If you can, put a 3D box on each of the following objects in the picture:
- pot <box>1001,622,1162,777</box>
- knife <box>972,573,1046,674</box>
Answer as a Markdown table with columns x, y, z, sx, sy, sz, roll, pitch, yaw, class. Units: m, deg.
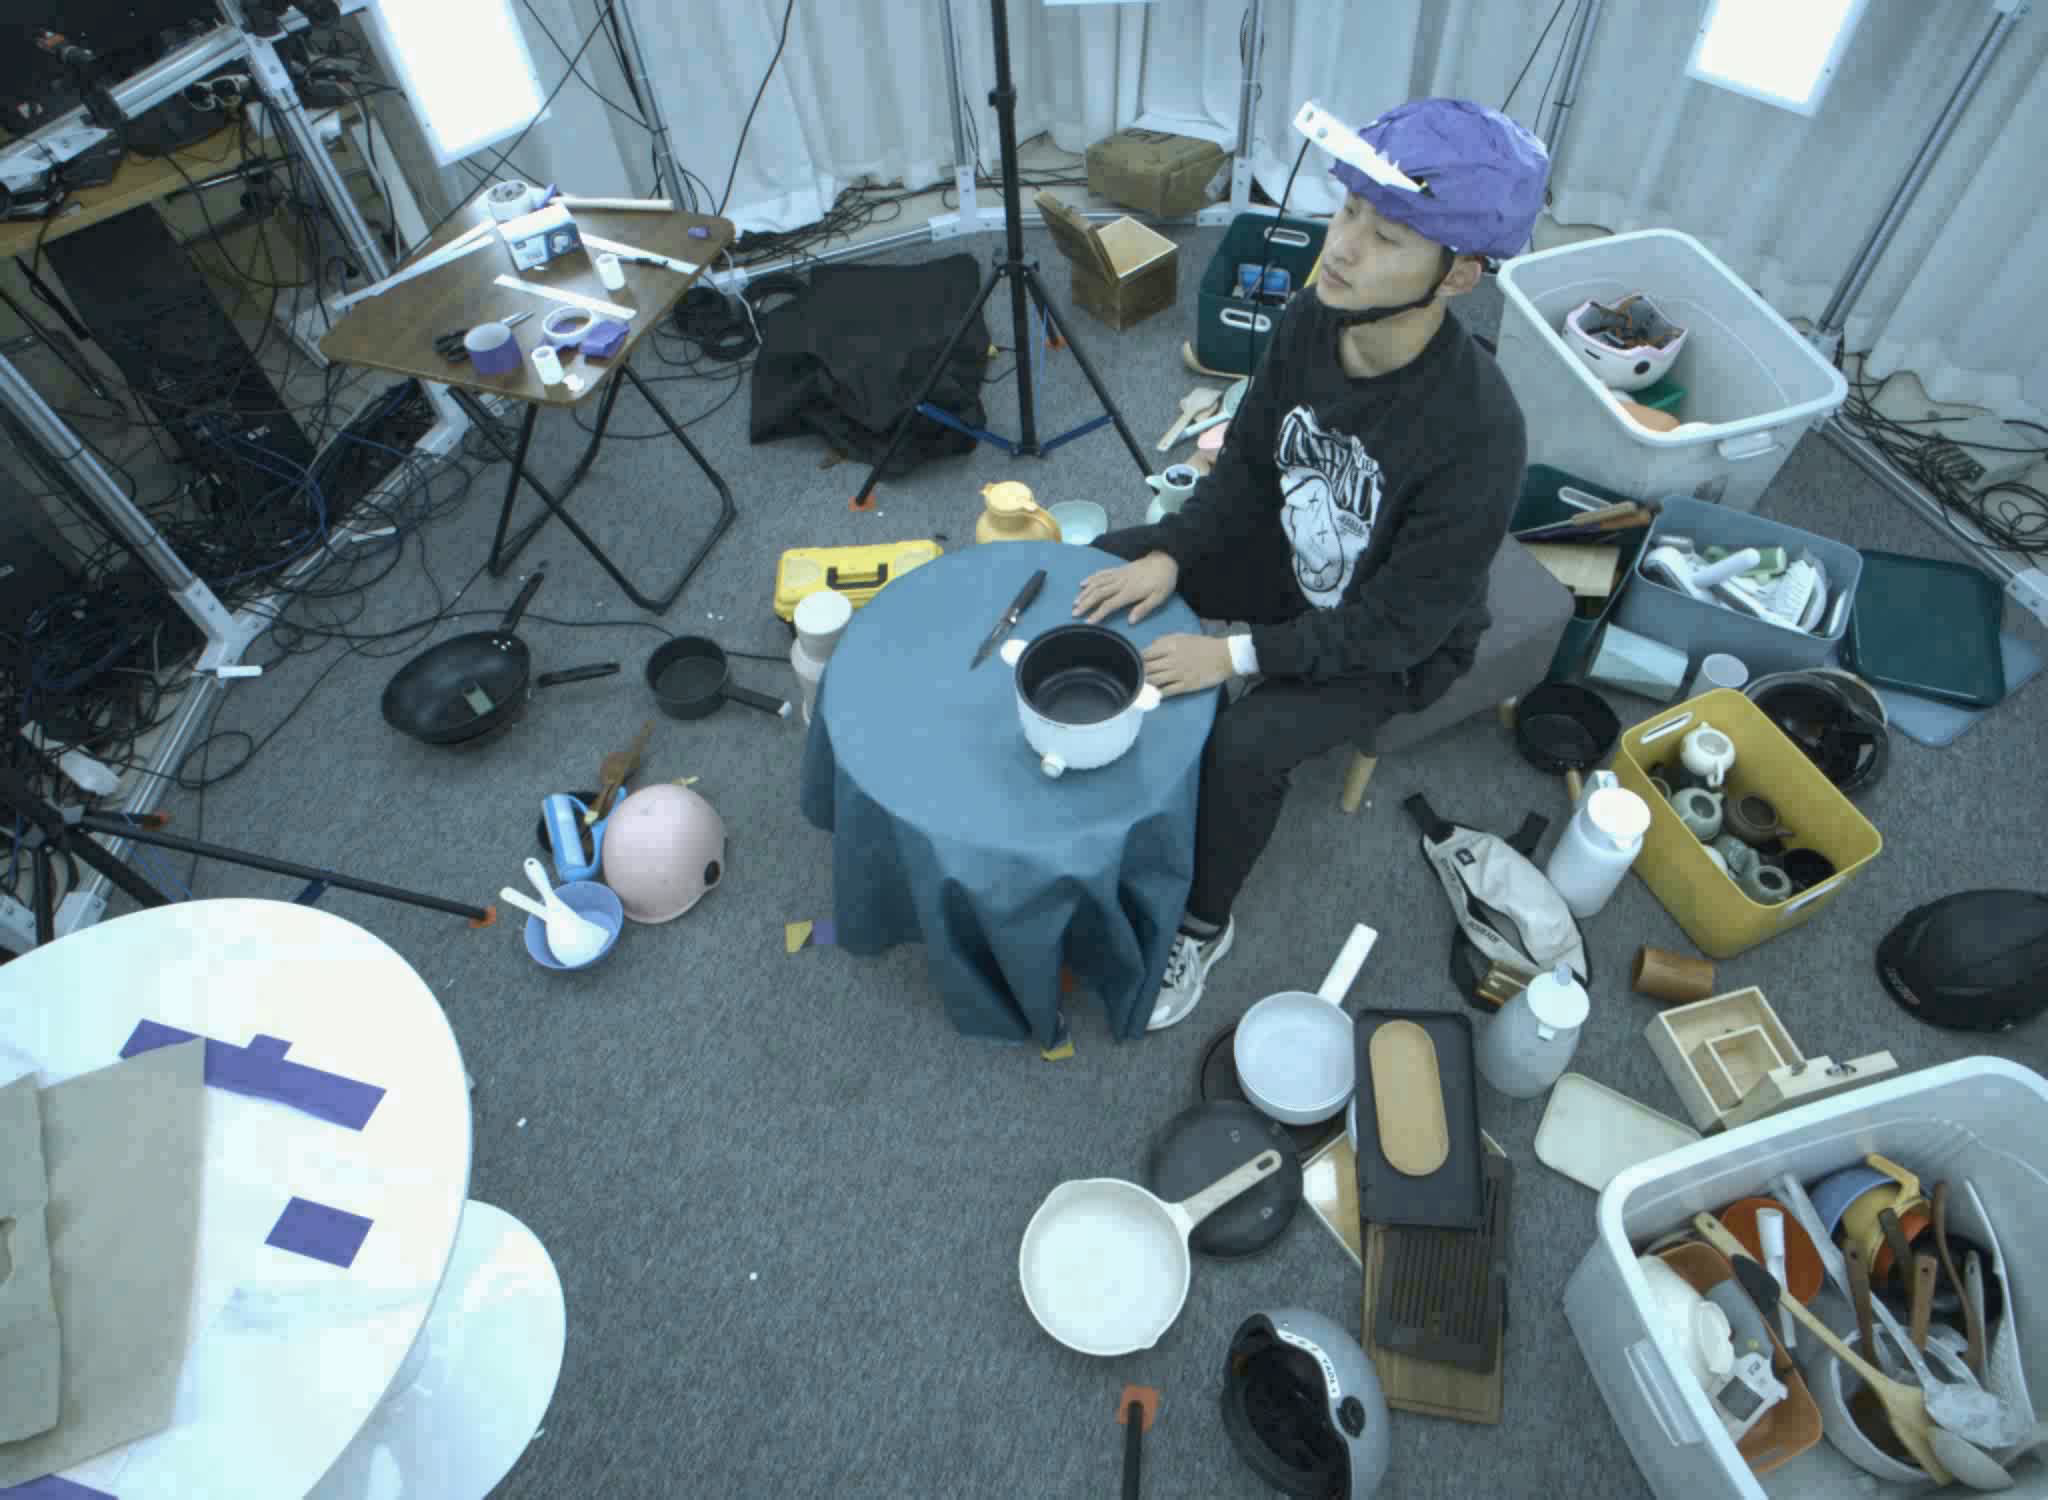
| x | y | z | sx | sy | sz | roll | pitch | yaw | class |
| --- | --- | --- | --- | --- | --- | --- | --- | --- | --- |
| 0.079 | -0.065 | 1.742 | 0.237 | 0.144 | 0.191 | 19 | 54 | 17 | pot |
| -0.026 | -0.200 | 1.922 | 0.026 | 0.017 | 0.226 | 32 | 61 | 6 | knife |
